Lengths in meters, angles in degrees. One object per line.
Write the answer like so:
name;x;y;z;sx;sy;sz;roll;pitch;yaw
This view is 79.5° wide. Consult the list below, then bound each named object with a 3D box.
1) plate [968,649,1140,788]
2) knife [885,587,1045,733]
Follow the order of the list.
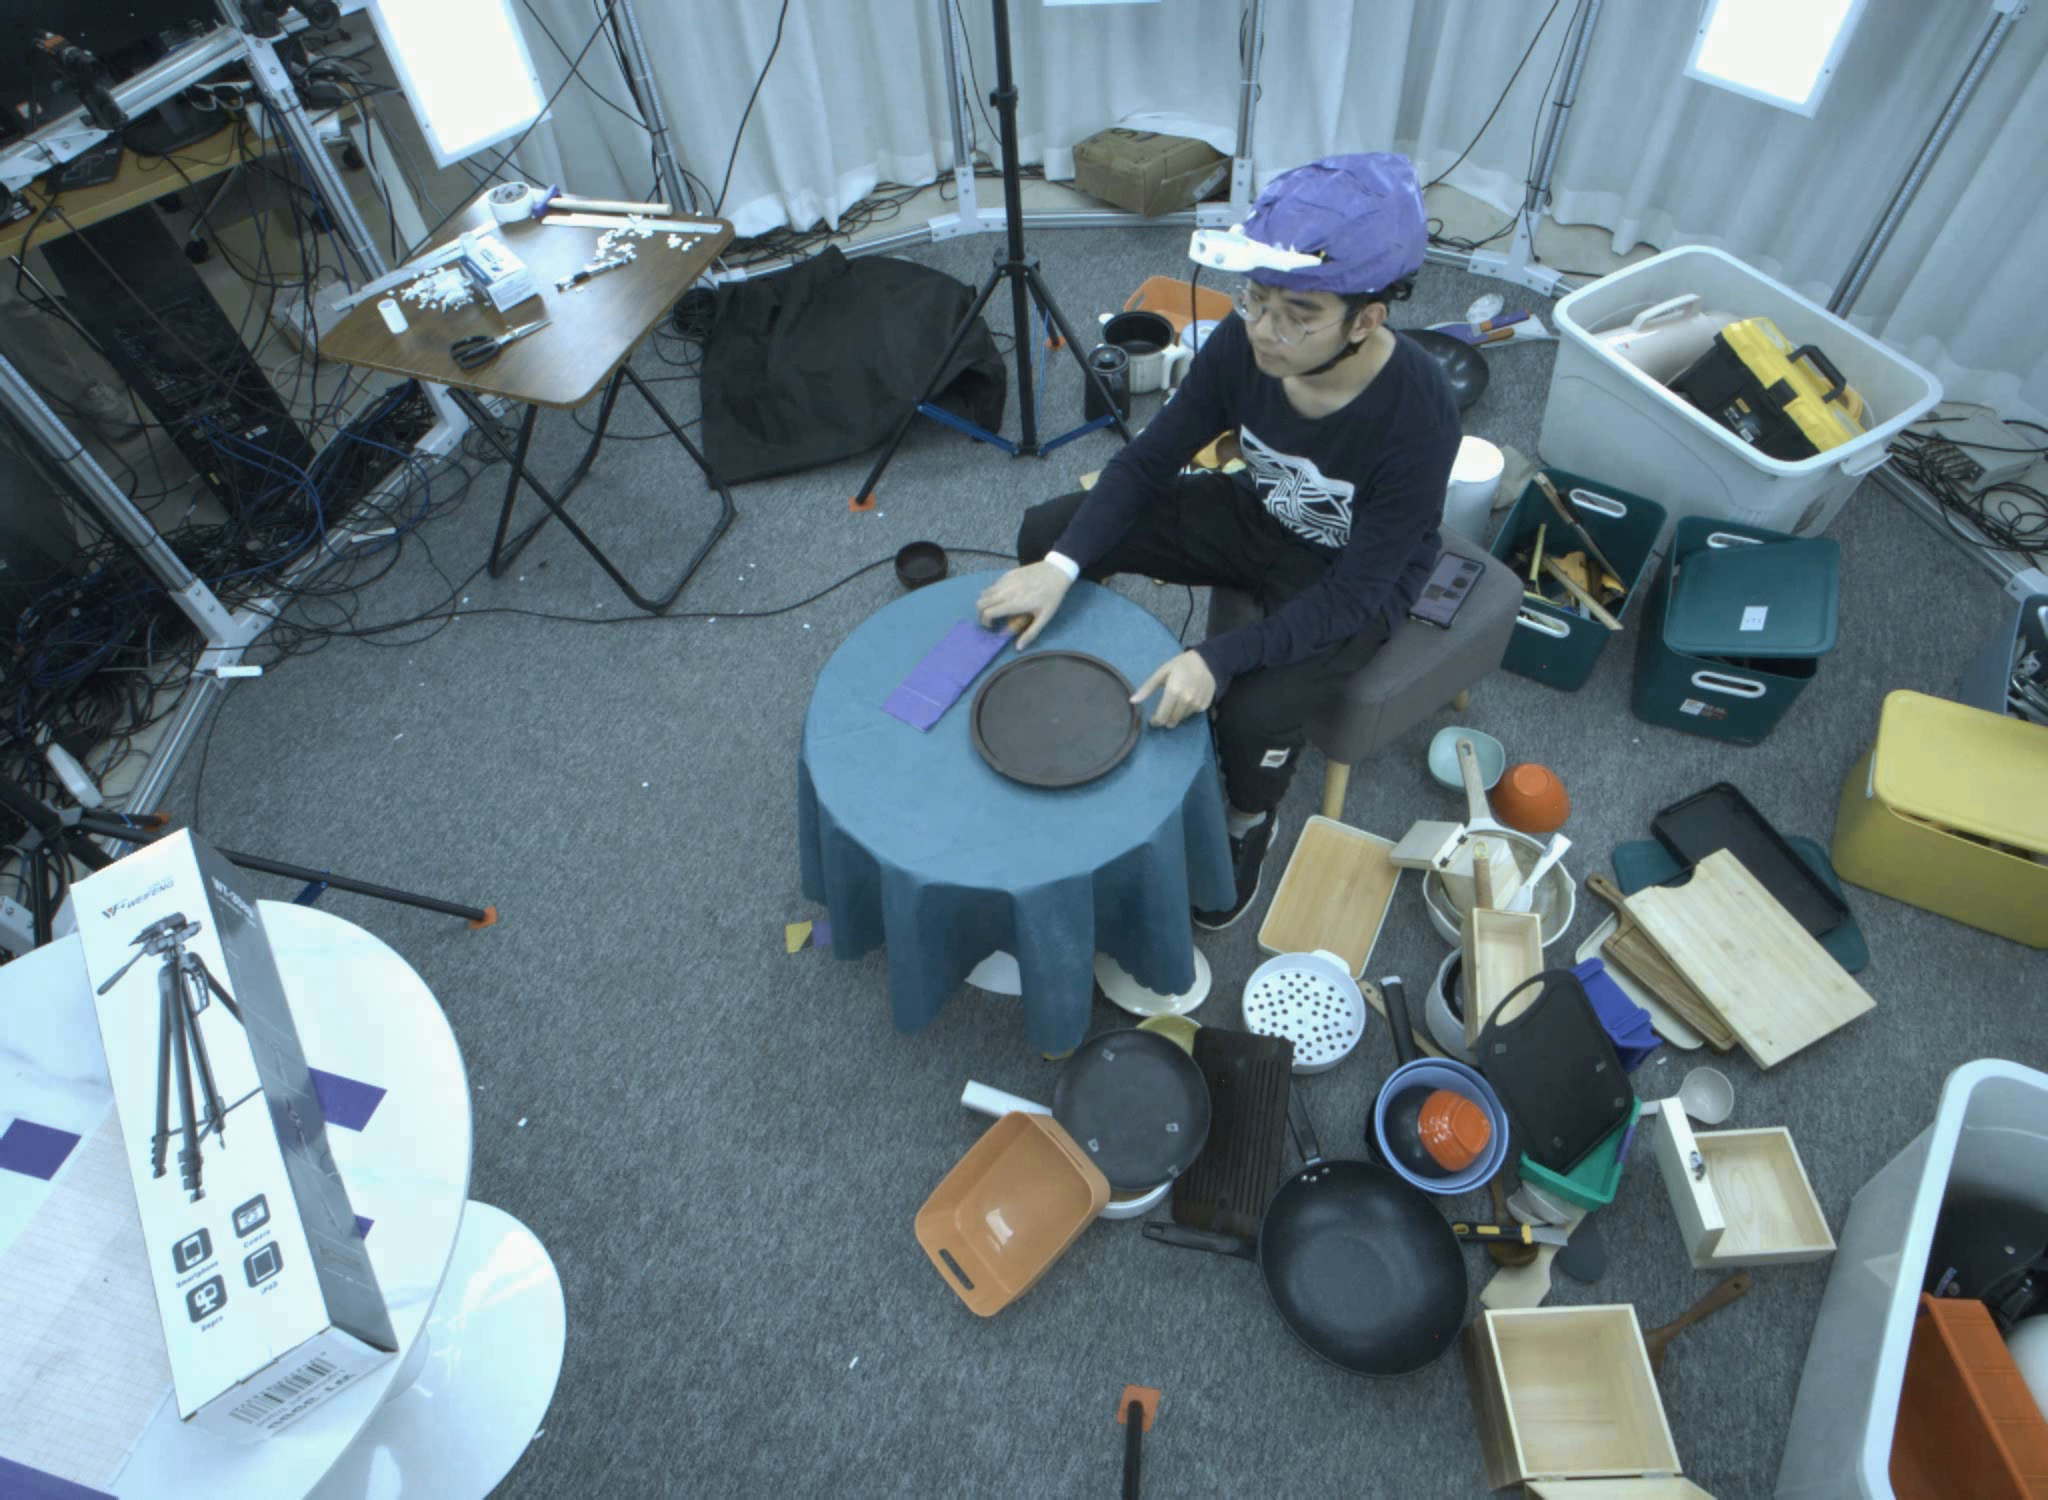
plate;0.044;-0.047;1.813;0.254;0.029;0.252;0;55;2
knife;-0.092;-0.155;1.892;0.102;0.032;0.316;29;61;20
